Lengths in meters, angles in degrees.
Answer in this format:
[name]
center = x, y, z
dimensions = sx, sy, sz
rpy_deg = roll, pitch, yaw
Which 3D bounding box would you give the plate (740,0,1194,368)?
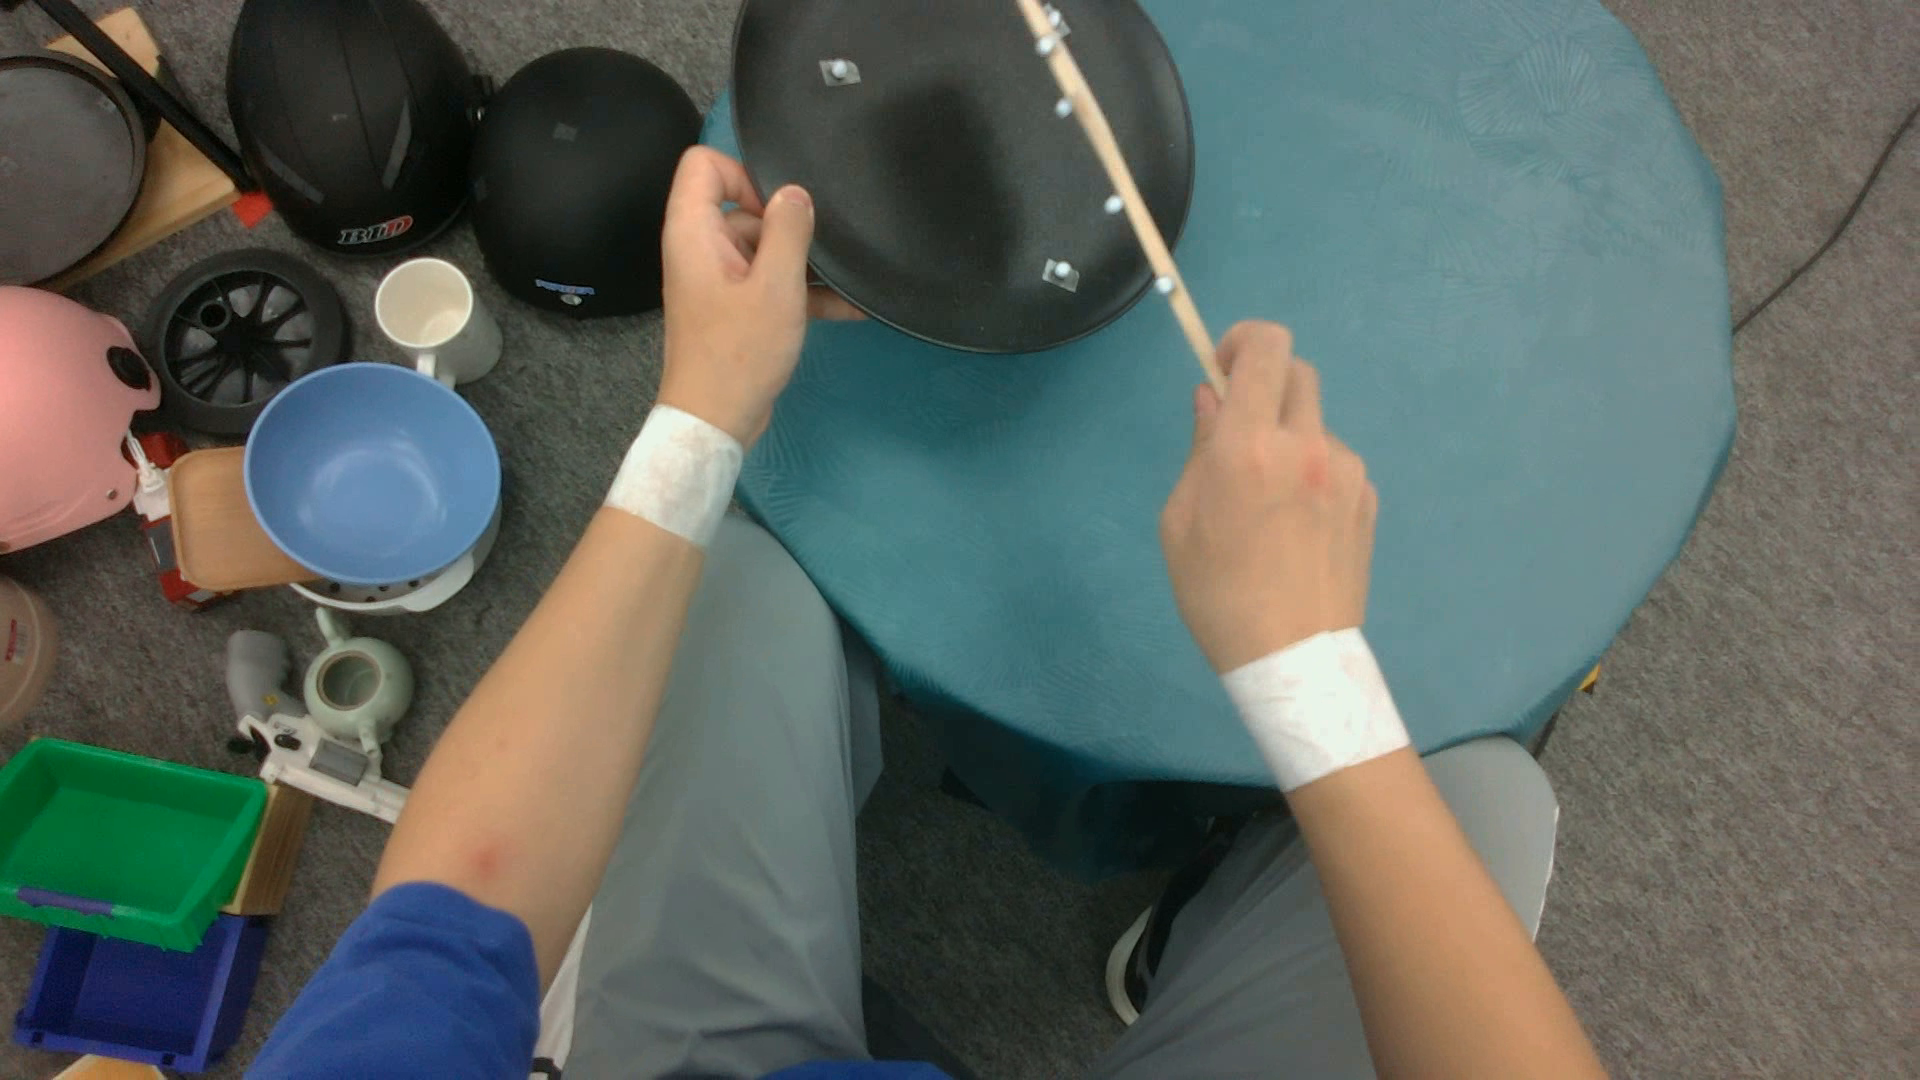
[plate]
center = 0.007, -0.204, 0.704
dimensions = 0.245, 0.023, 0.245
rpy_deg = 4, 78, -19

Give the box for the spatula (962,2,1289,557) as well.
[spatula]
center = 0.078, -0.121, 0.630
dimensions = 0.010, 0.072, 0.293
rpy_deg = -31, 77, 18
